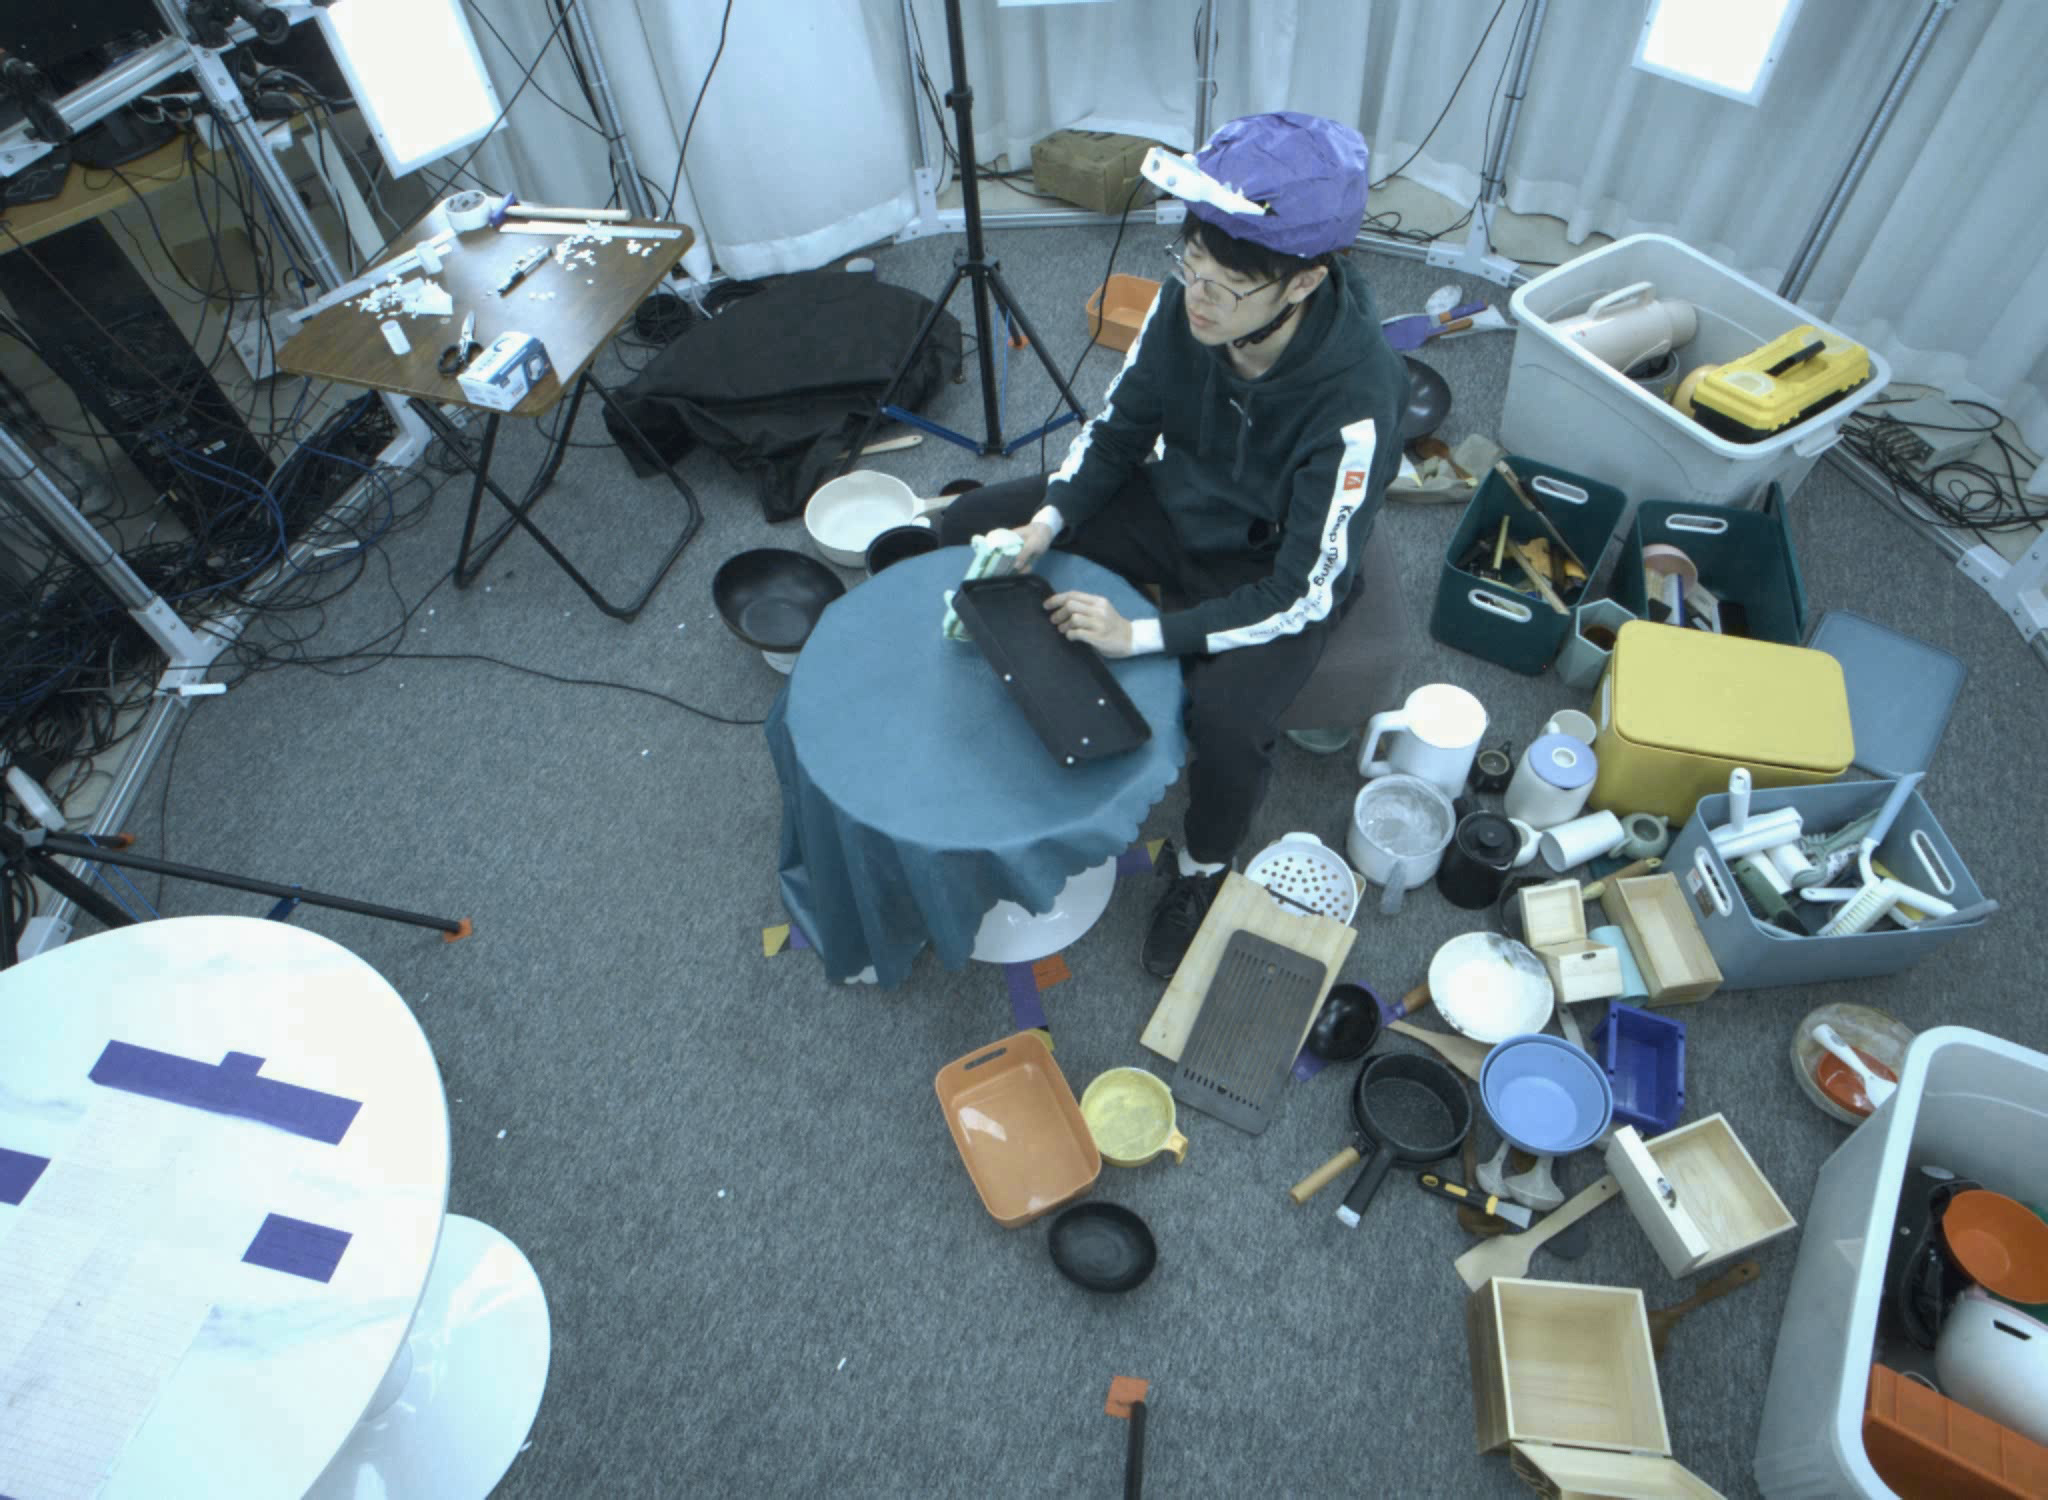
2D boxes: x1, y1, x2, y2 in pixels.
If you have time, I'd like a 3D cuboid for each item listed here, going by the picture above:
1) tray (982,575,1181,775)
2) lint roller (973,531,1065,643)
[{"bbox_3d":[0.080,-0.112,1.742,0.188,0.037,0.314,-13,66,-45],"label":"tray"},{"bbox_3d":[-0.003,-0.275,1.860,0.082,0.198,0.184,34,44,0],"label":"lint roller"}]
